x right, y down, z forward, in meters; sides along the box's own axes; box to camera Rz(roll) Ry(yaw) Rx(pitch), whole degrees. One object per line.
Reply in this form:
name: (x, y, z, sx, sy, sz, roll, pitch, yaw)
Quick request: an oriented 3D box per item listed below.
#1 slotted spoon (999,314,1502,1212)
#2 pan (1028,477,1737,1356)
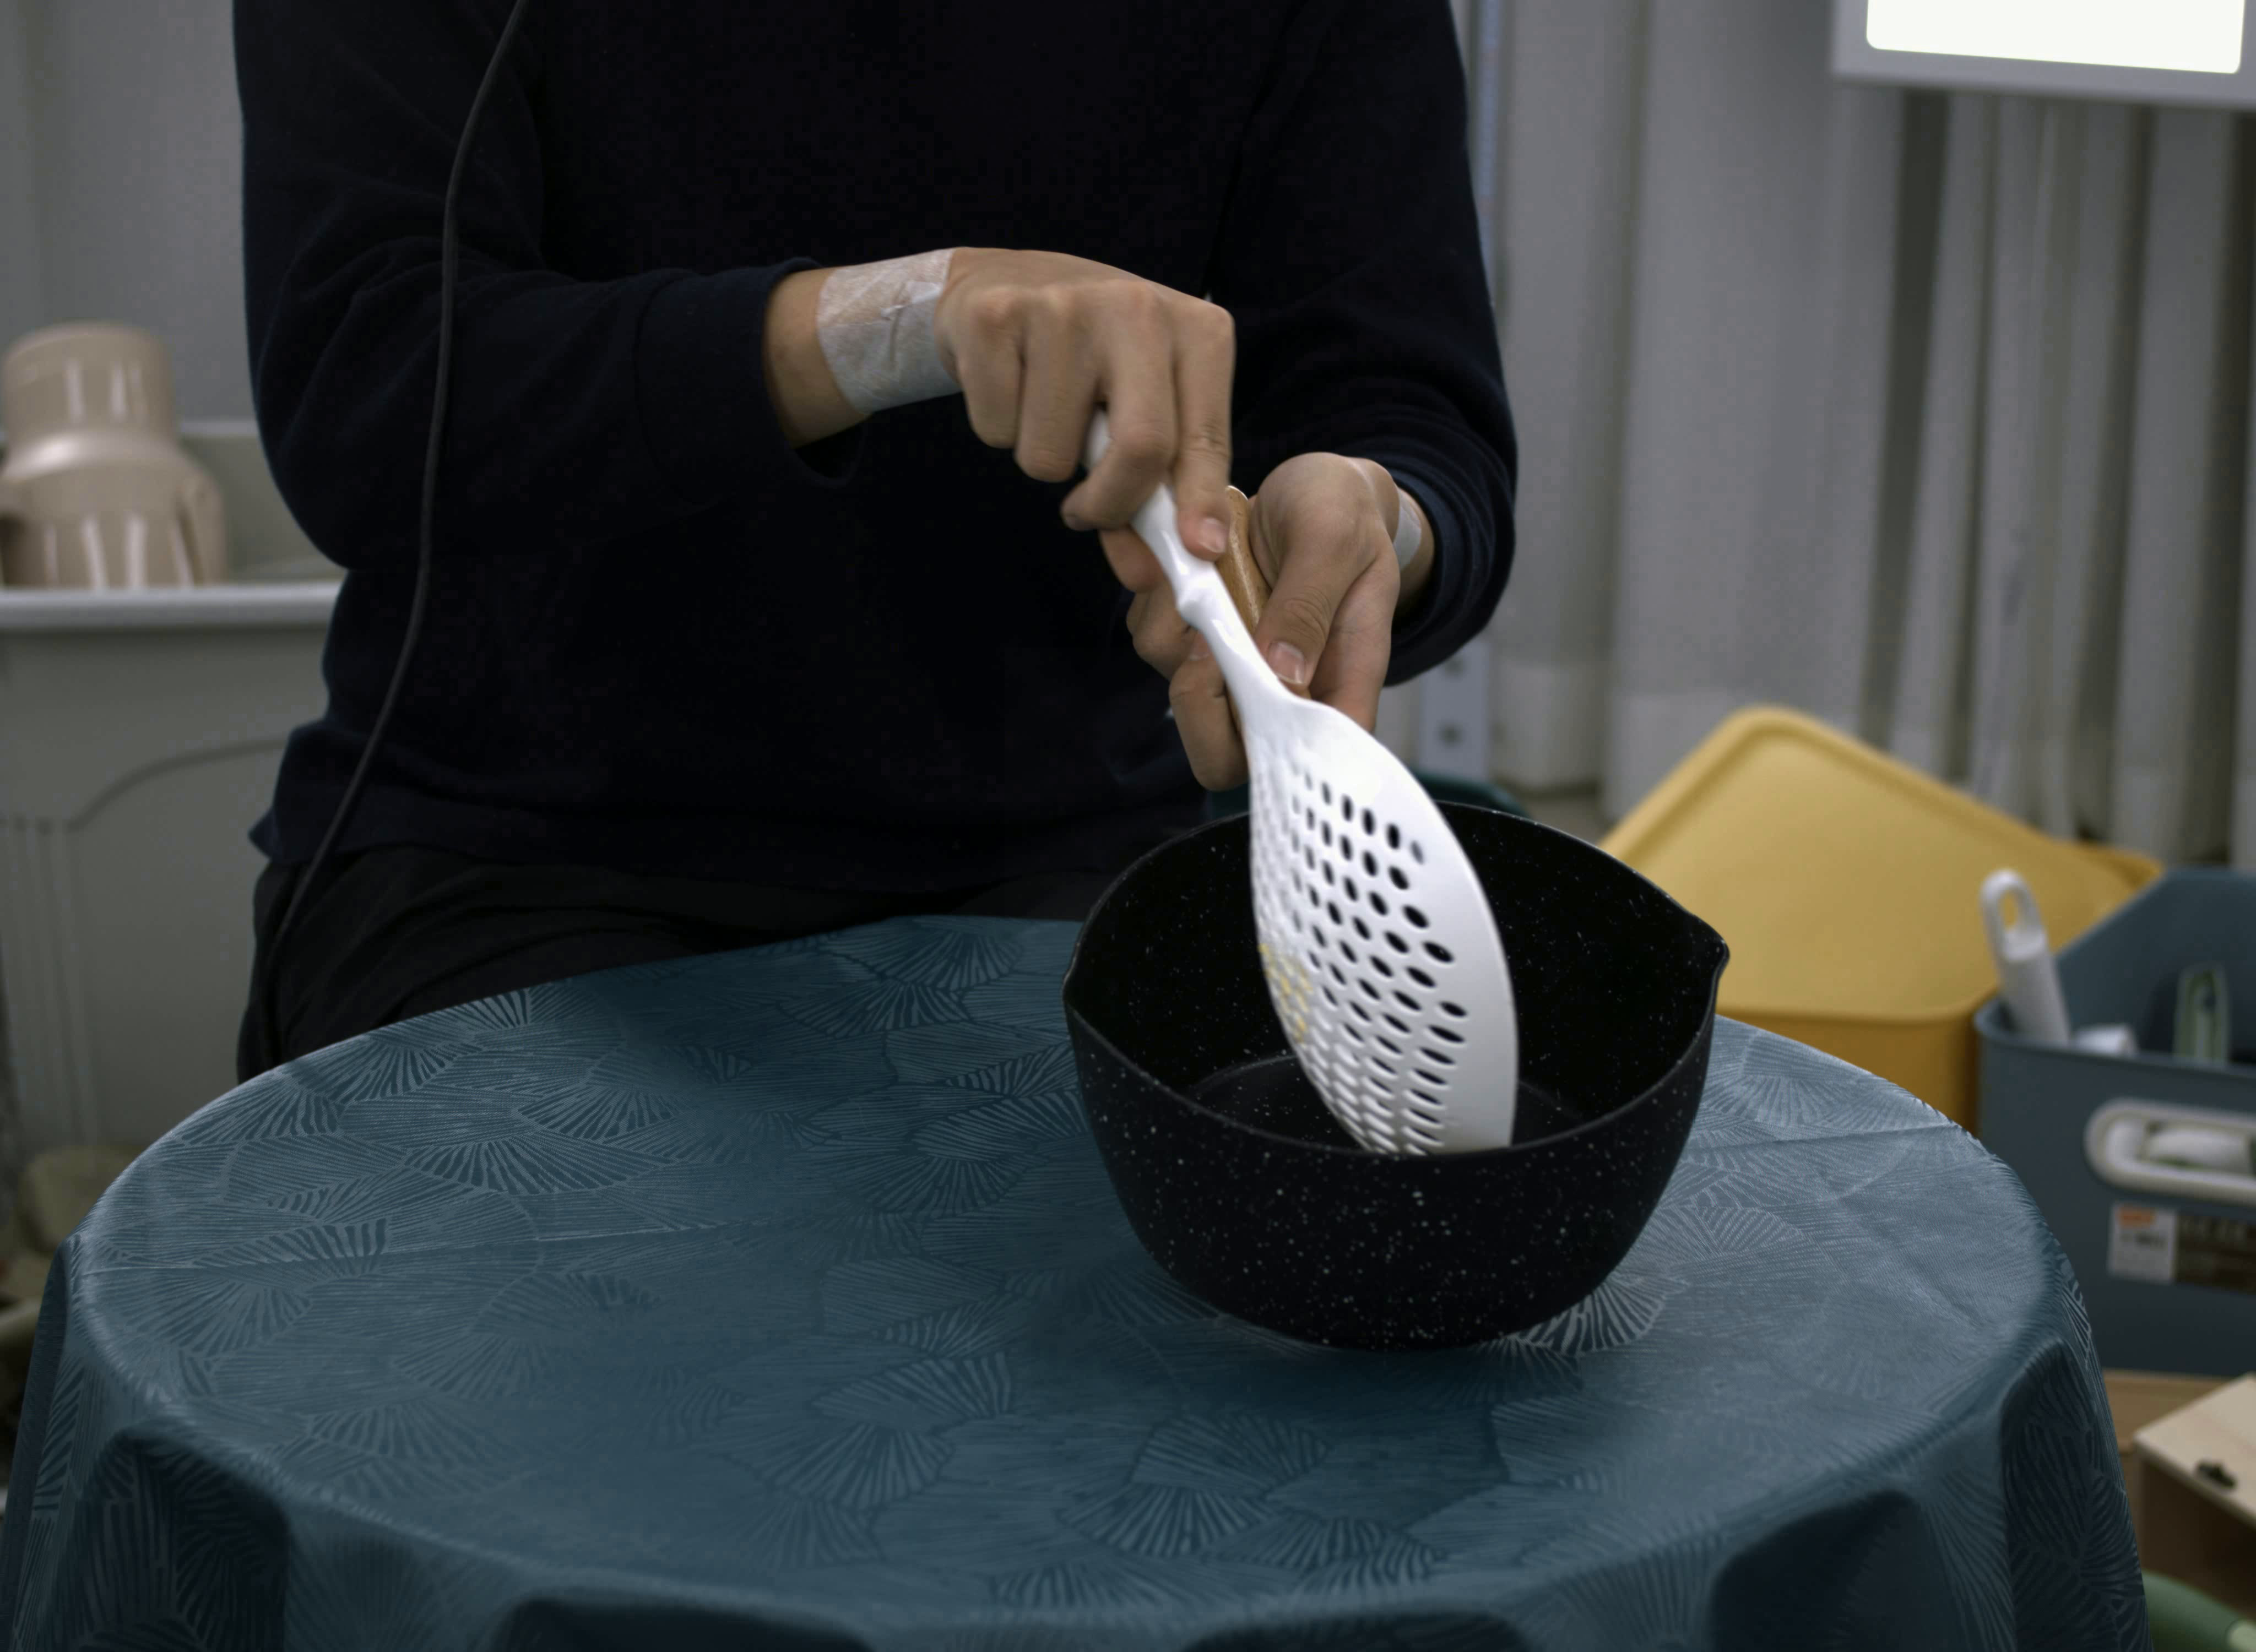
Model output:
slotted spoon: (0.030, -0.032, 1.538, 0.050, 0.138, 0.344, -10, 48, -13)
pan: (0.058, 0.023, 1.590, 0.207, 0.109, 0.339, -7, 35, -11)
